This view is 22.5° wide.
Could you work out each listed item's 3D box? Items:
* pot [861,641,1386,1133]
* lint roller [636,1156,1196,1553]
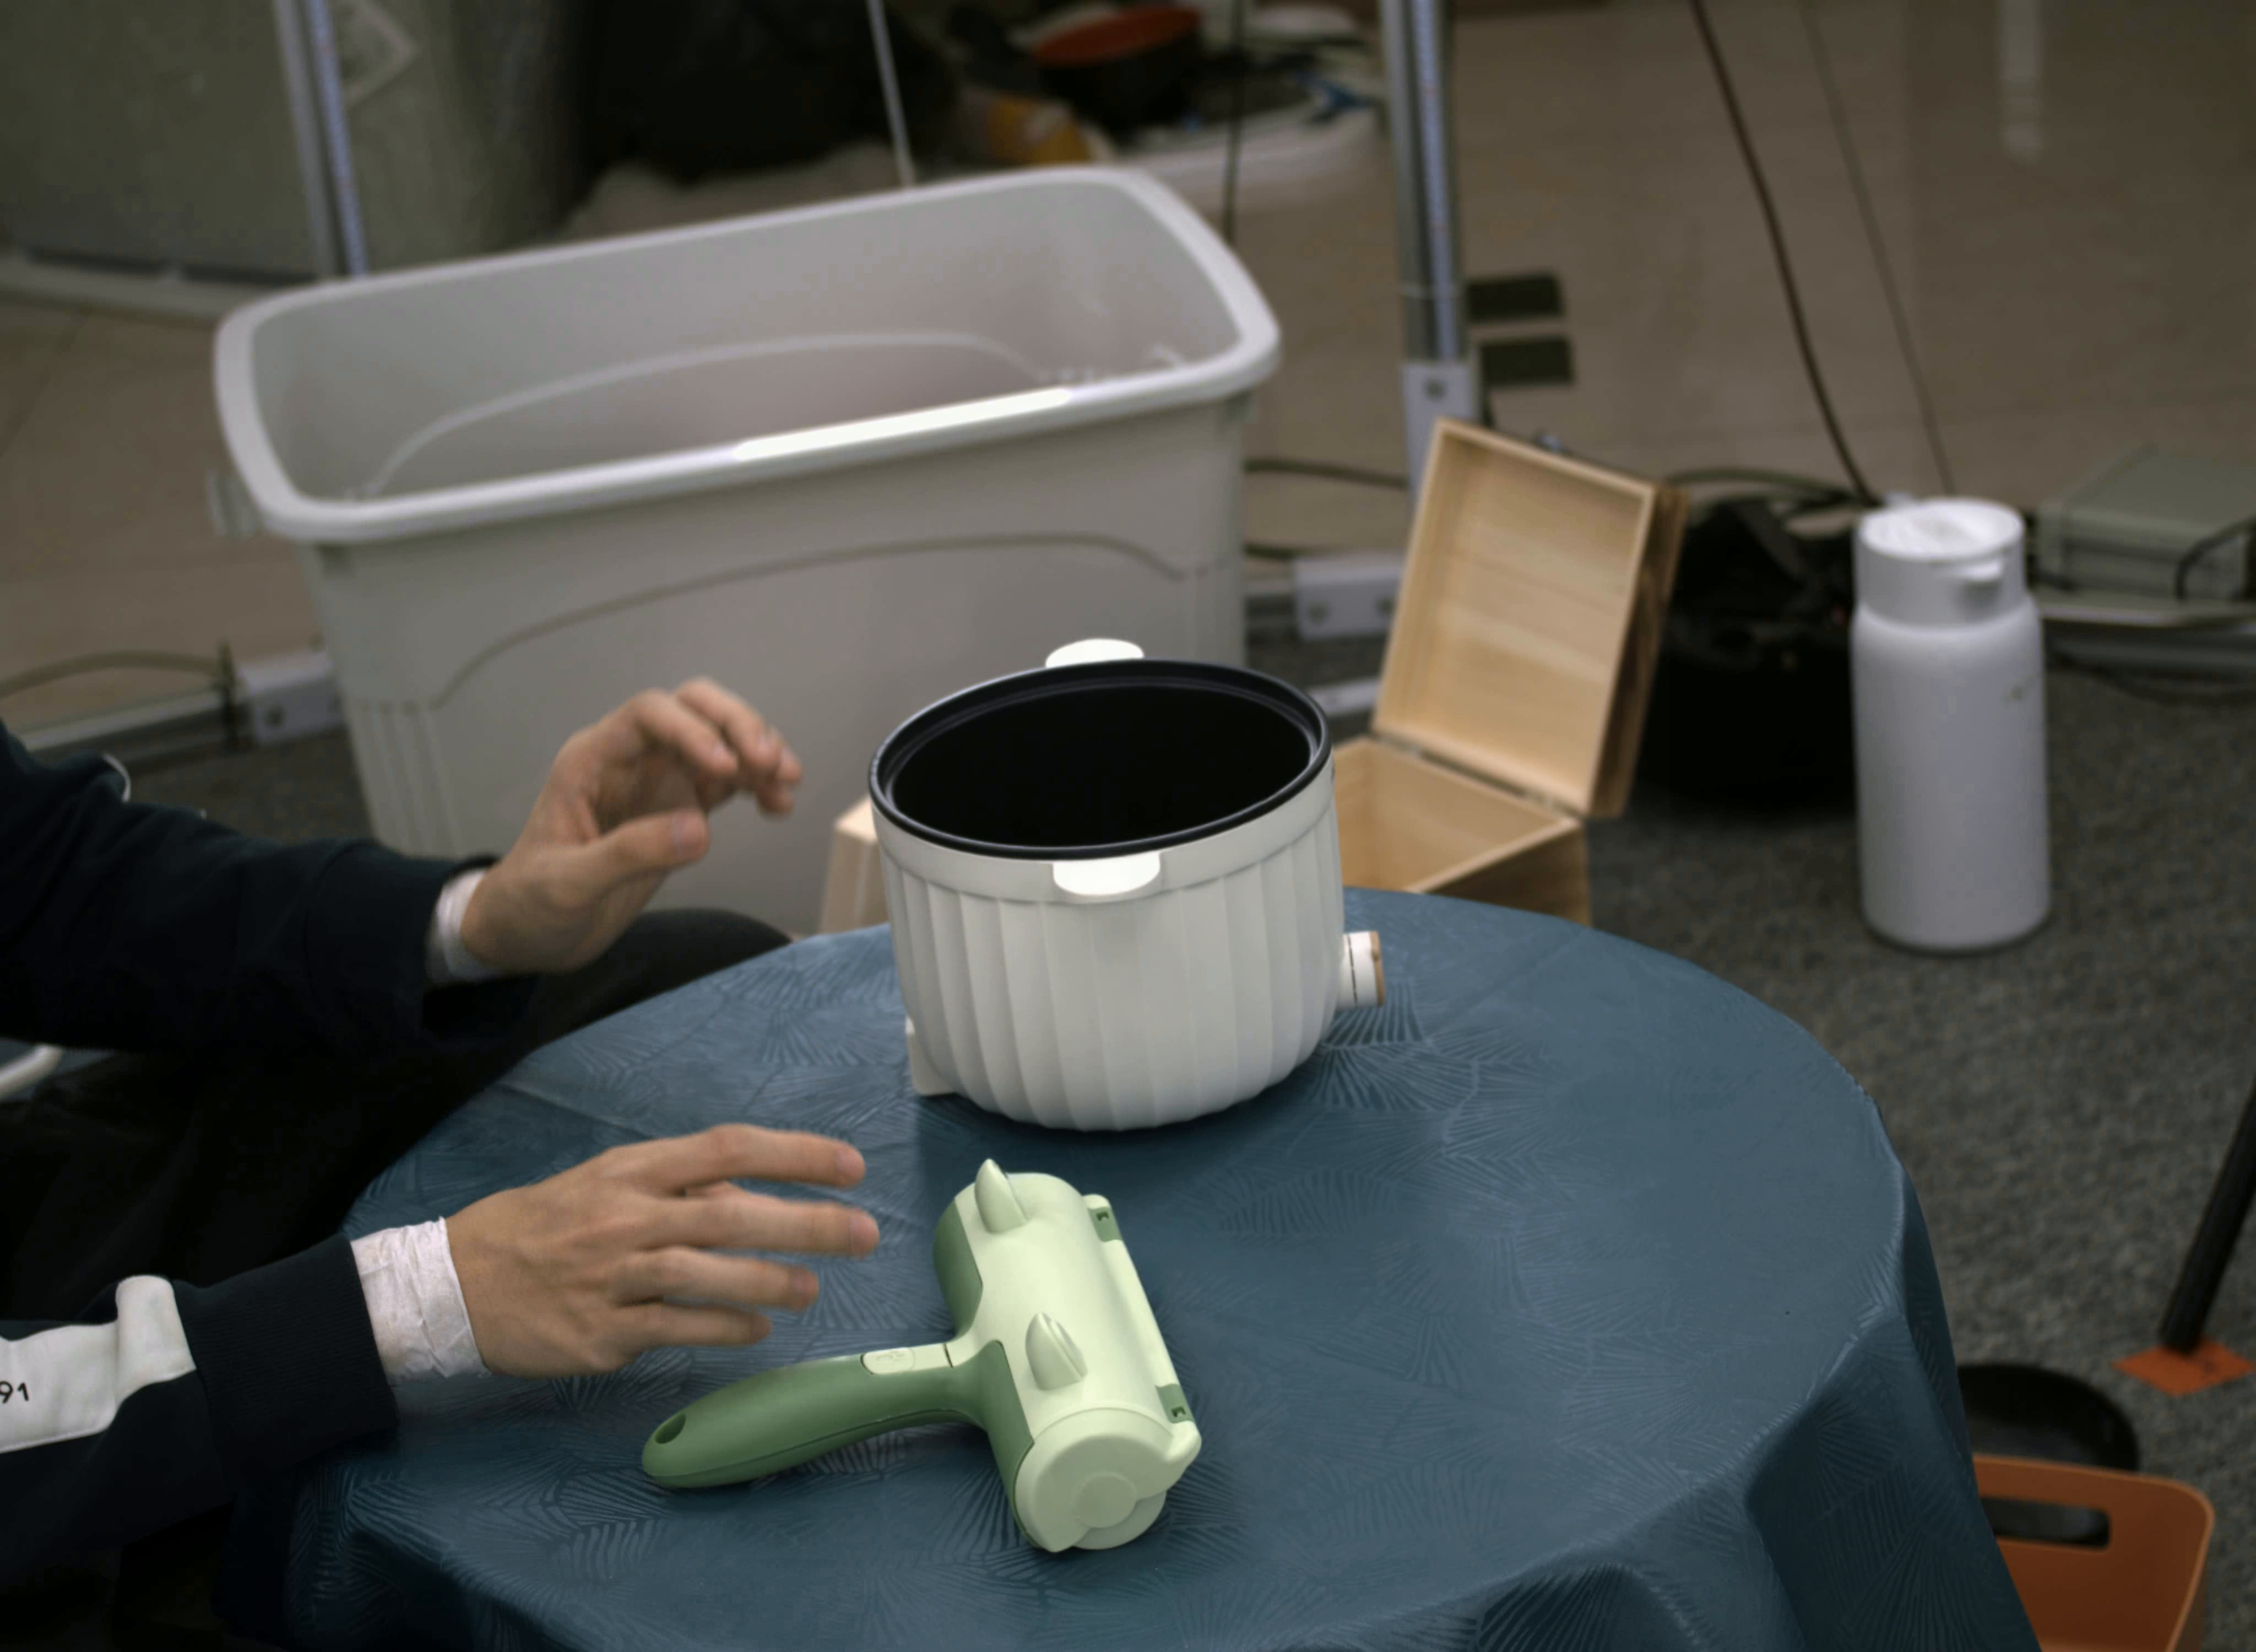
[{"bbox_3d":[0.000,0.030,2.213,0.190,0.145,0.237,-9,26,2],"label":"pot"},{"bbox_3d":[-0.082,0.183,1.980,0.183,0.083,0.196,-5,25,-9],"label":"lint roller"}]
